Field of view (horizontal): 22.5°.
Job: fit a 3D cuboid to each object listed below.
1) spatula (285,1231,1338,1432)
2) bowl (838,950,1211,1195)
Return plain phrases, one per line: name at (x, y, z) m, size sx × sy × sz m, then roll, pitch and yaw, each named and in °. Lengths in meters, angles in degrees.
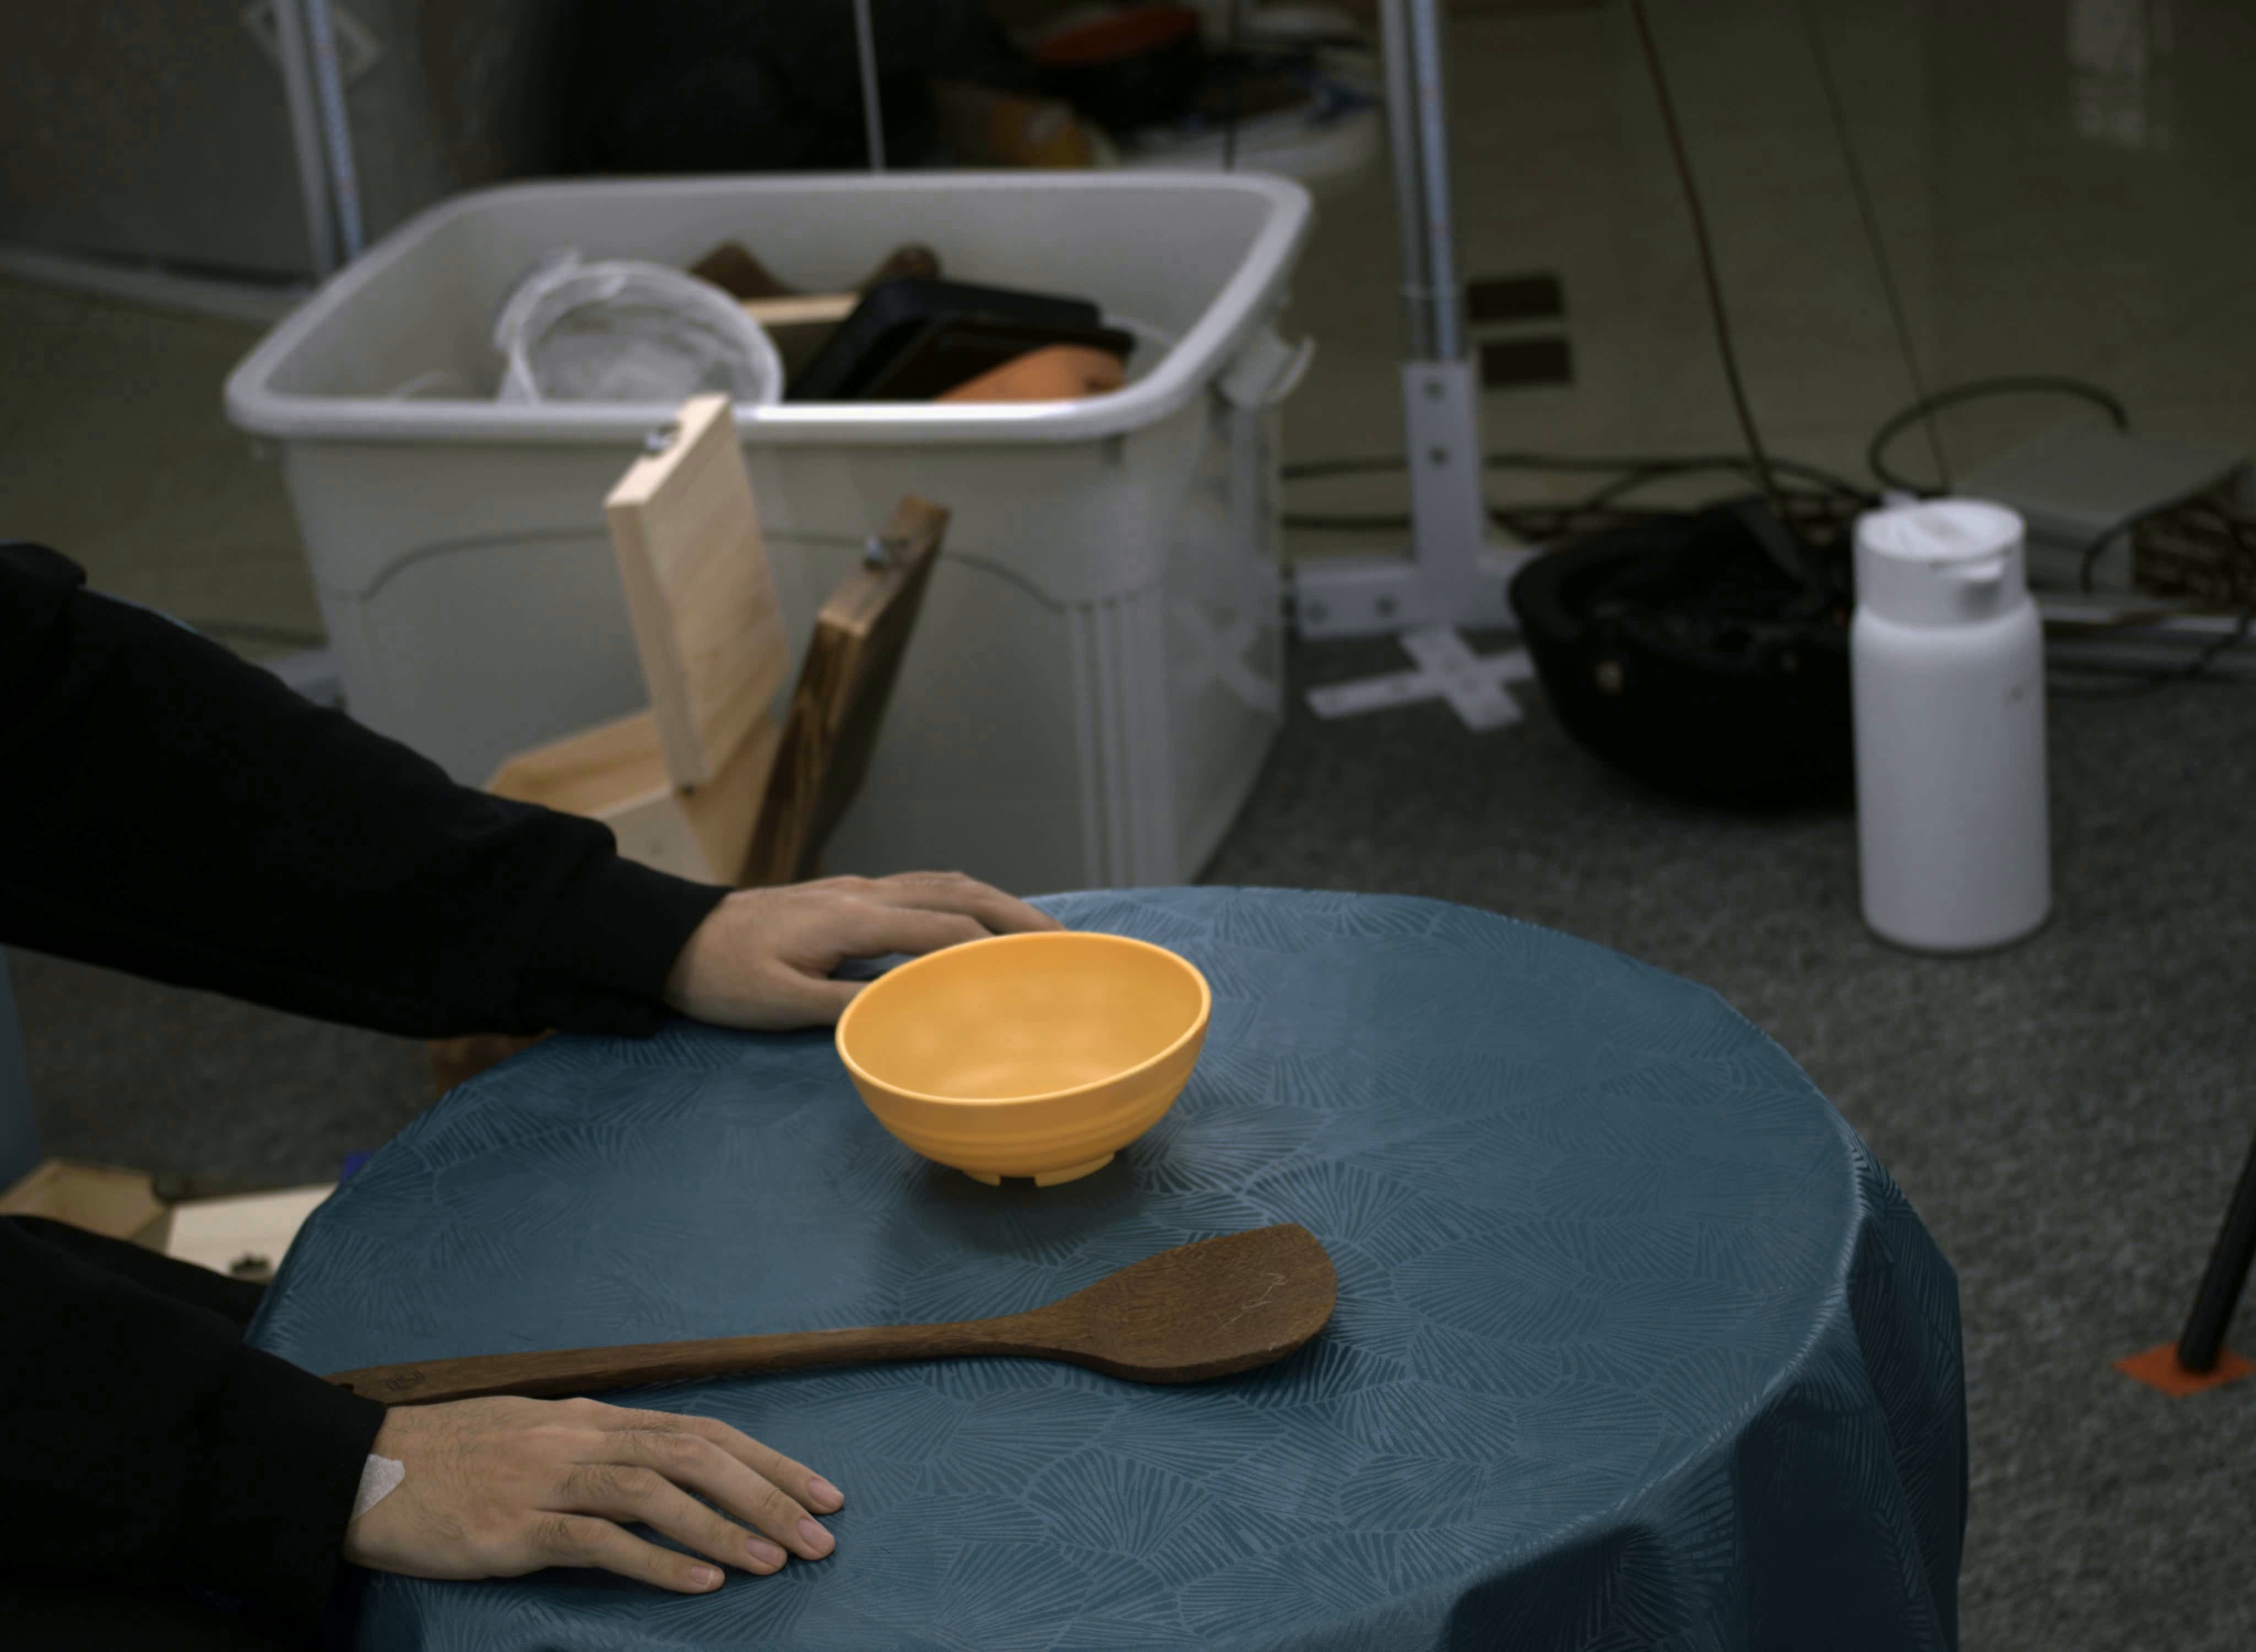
spatula at (-0.116, 0.190, 2.056) m, size 0.385 × 0.016 × 0.095 m, roll -6°, pitch 24°, yaw 2°
bowl at (-0.037, 0.101, 2.177) m, size 0.145 × 0.061 × 0.143 m, roll -6°, pitch 22°, yaw 3°
